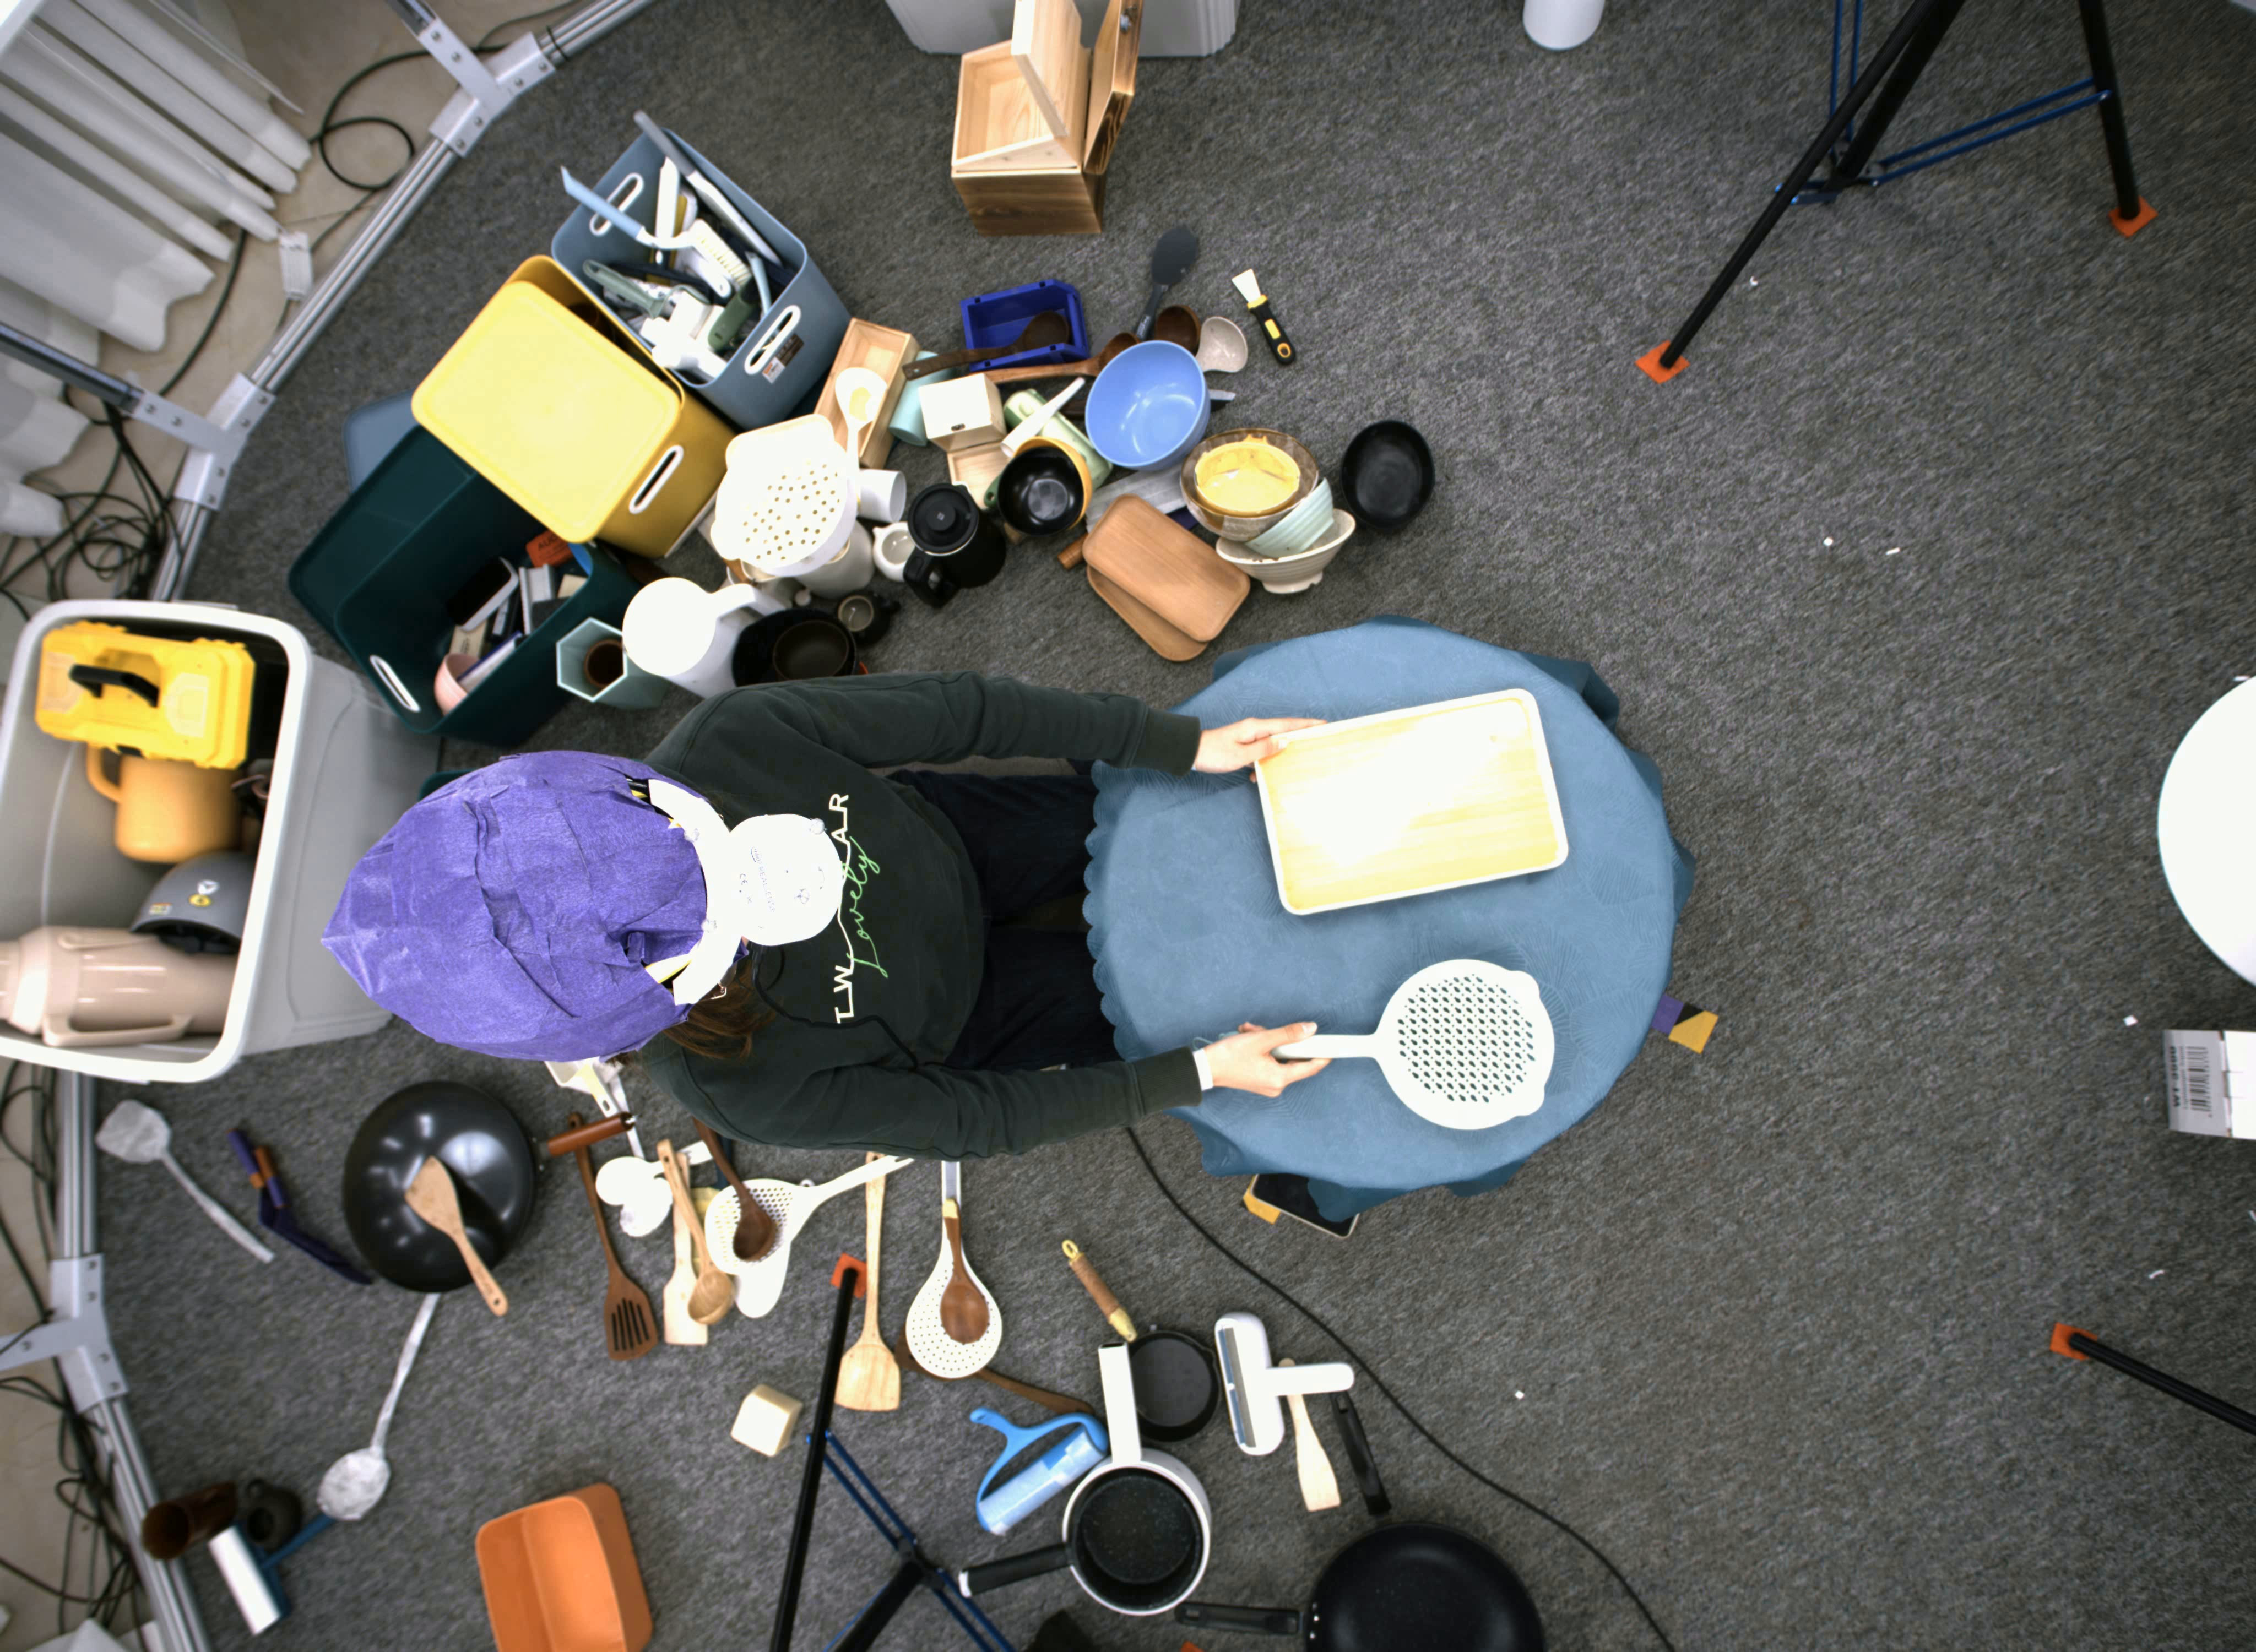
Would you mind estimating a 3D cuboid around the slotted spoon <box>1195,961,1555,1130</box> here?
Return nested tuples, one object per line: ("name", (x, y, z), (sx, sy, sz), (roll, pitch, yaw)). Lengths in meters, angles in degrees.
("slotted spoon", (0.247, 0.223, 1.411), (0.360, 0.075, 0.169), (-3, 91, 6))

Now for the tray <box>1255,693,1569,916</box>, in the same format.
("tray", (0.294, -0.024, 1.437), (0.301, 0.027, 0.190), (-10, 84, 3))
